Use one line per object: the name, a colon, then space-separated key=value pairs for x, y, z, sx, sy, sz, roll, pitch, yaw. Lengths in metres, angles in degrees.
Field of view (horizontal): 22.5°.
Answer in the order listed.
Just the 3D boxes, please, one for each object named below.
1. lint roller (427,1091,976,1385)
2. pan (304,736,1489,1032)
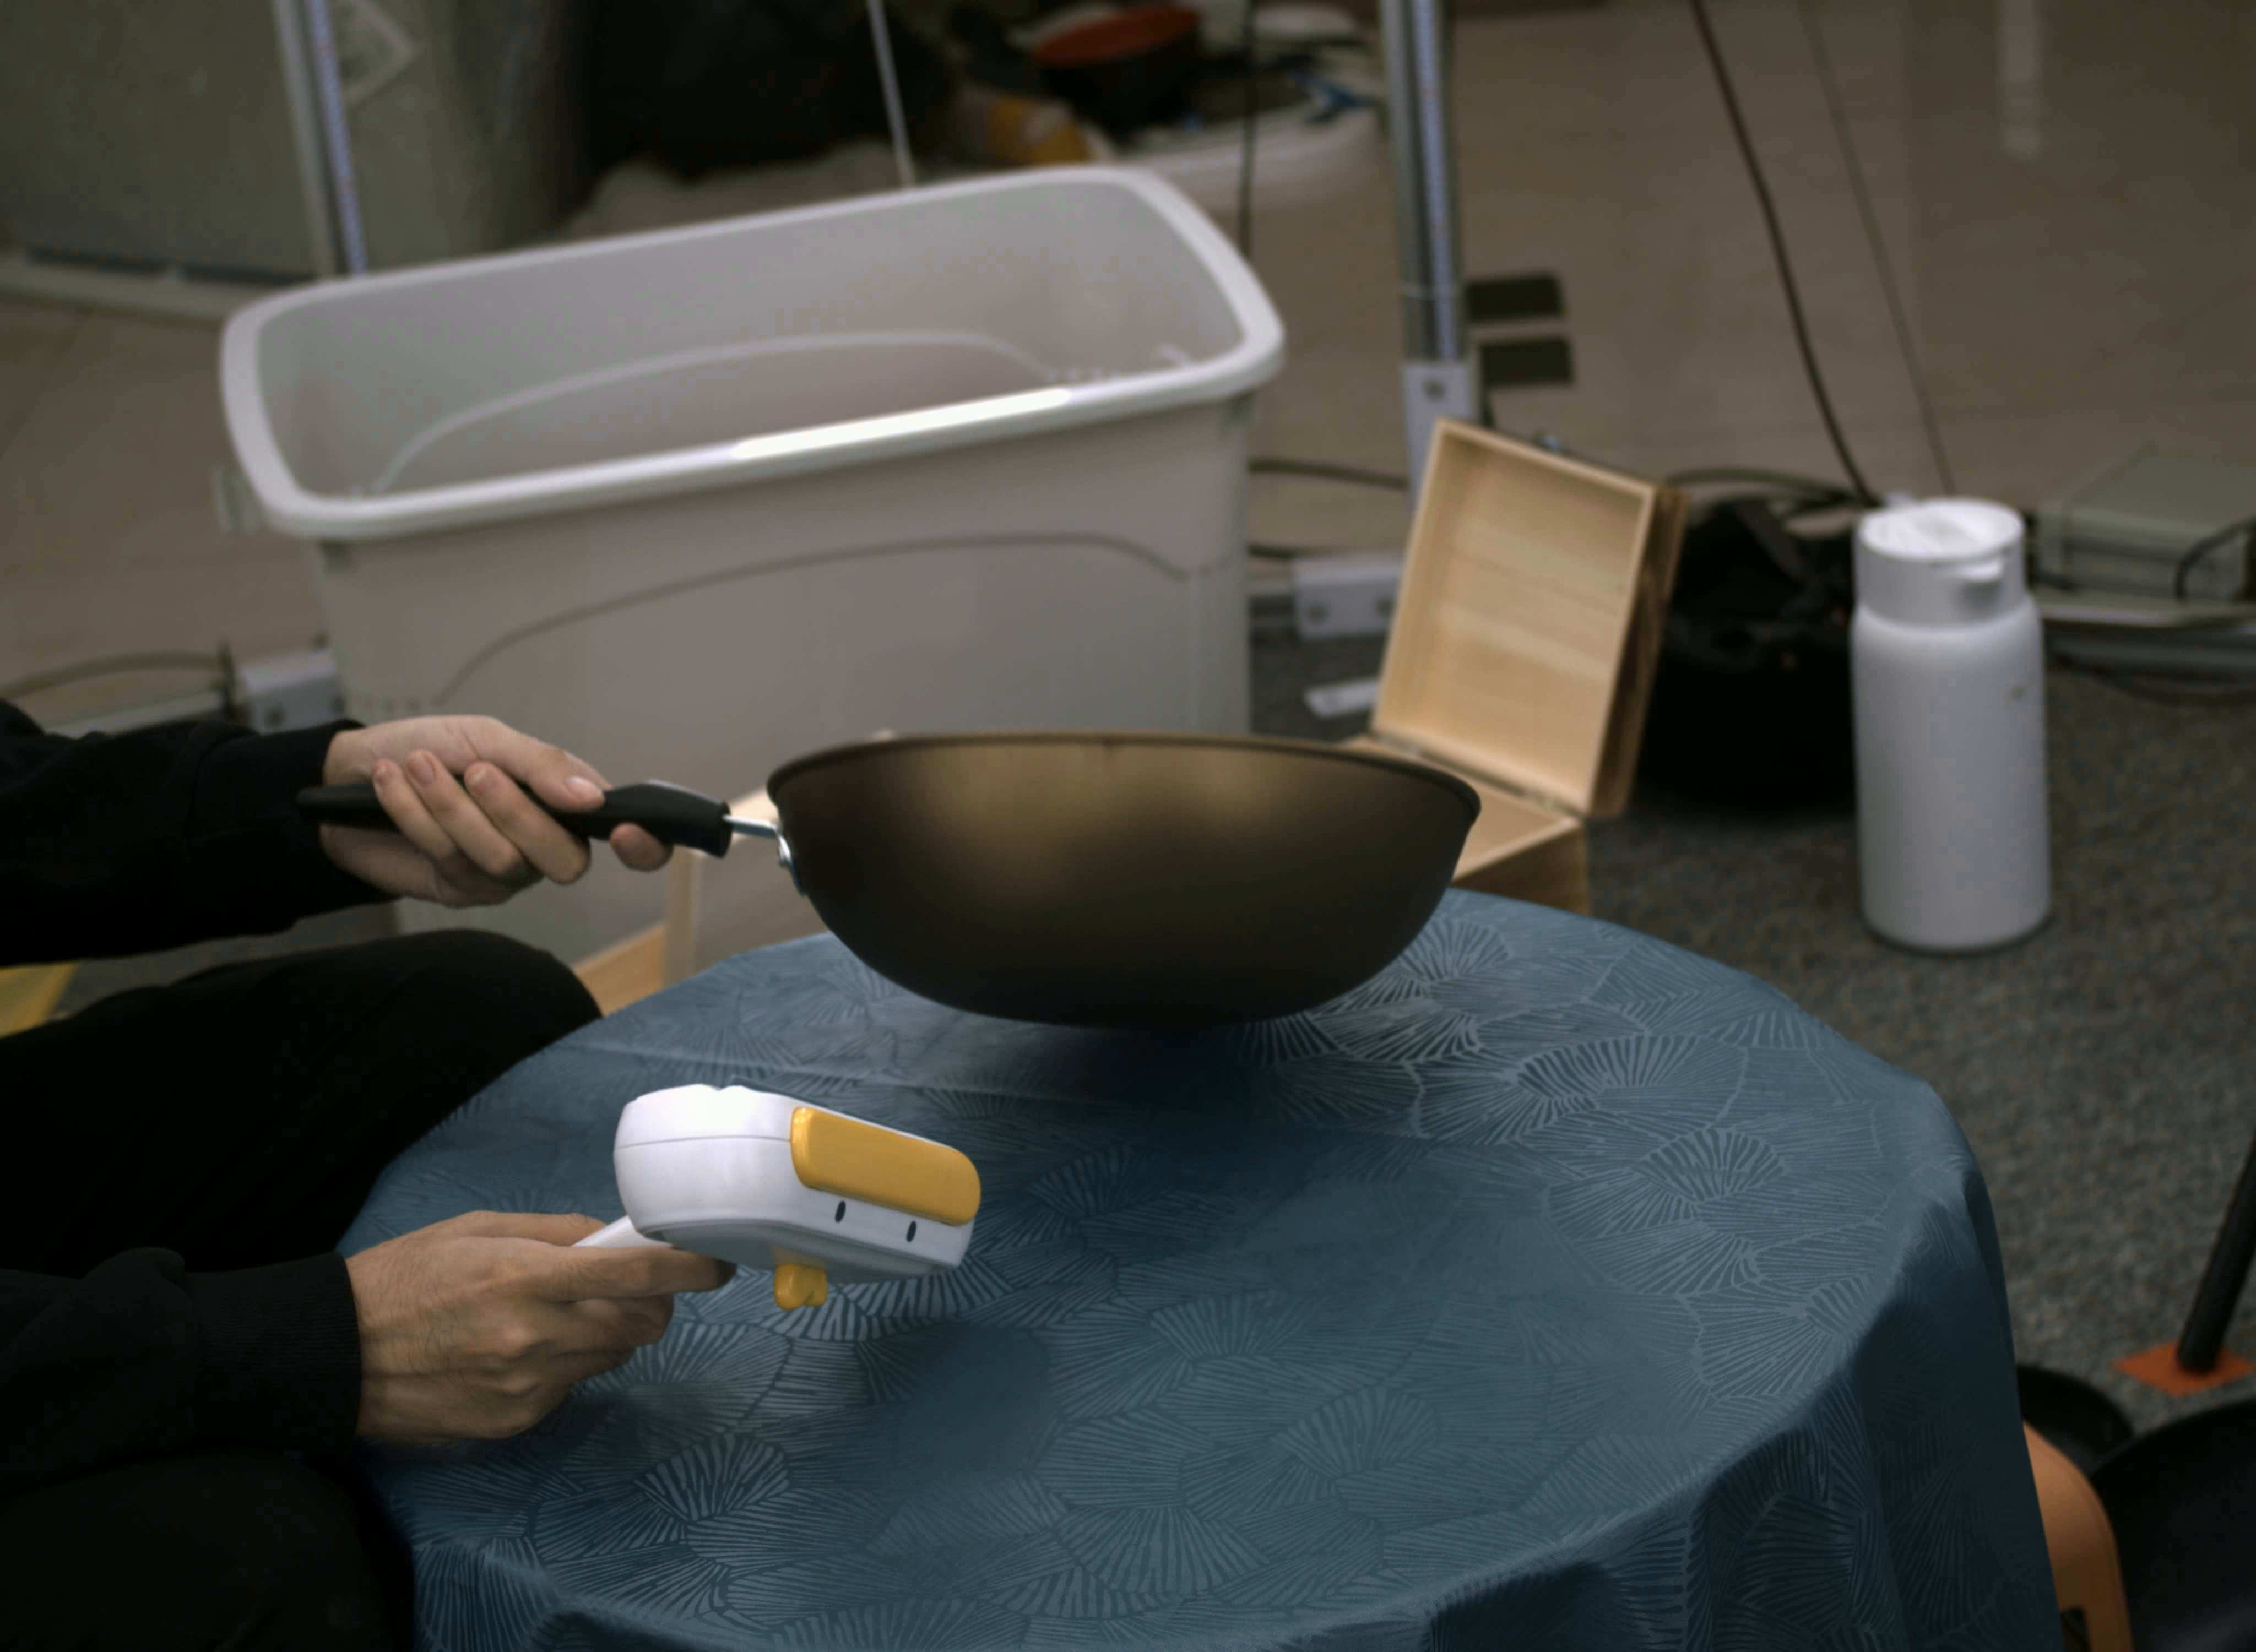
lint roller: x=-0.167 y=0.148 z=2.001 sx=0.193 sy=0.074 sz=0.193 roll=-16 pitch=-11 yaw=24
pan: x=-0.092 y=0.028 z=2.190 sx=0.462 sy=0.086 sz=0.290 roll=0 pitch=-10 yaw=4
